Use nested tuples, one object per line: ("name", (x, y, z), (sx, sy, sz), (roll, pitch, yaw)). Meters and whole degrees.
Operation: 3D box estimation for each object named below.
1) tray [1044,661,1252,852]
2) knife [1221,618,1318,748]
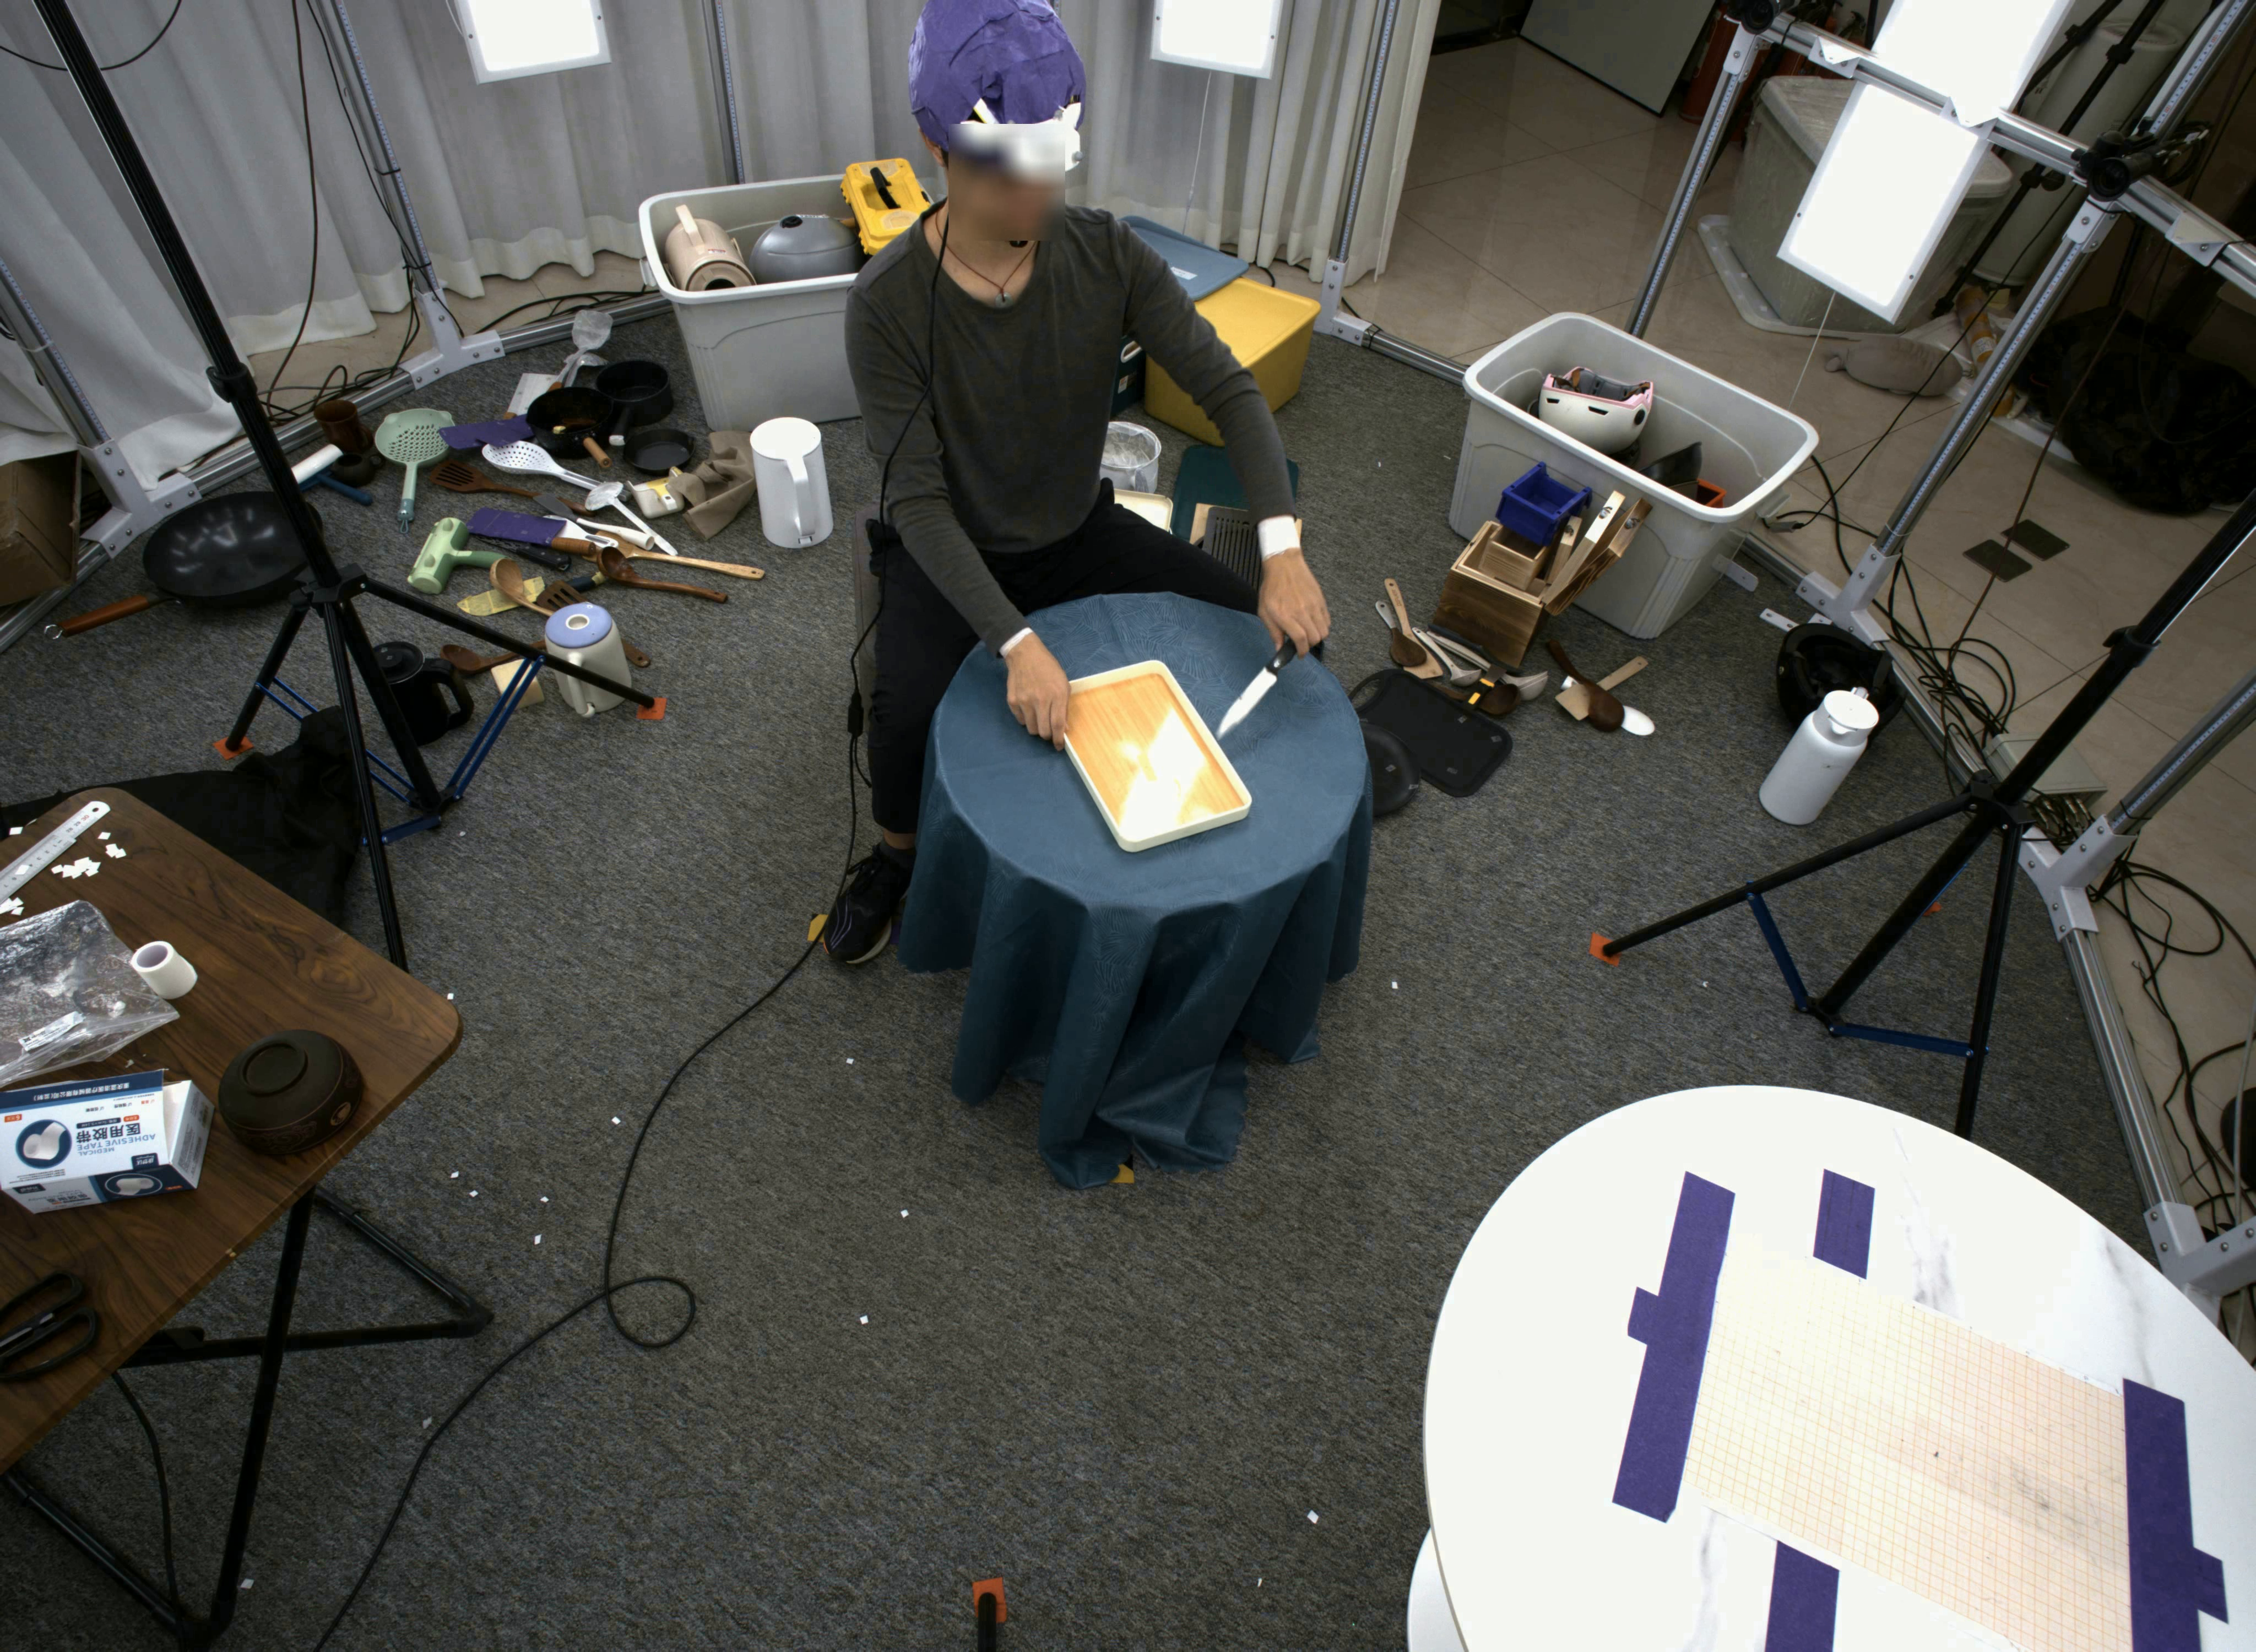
("tray", (0.022, -0.101, 1.740), (0.192, 0.027, 0.307), (-15, 52, -18))
("knife", (0.193, -0.201, 1.774), (0.024, 0.016, 0.240), (34, 72, 7))
